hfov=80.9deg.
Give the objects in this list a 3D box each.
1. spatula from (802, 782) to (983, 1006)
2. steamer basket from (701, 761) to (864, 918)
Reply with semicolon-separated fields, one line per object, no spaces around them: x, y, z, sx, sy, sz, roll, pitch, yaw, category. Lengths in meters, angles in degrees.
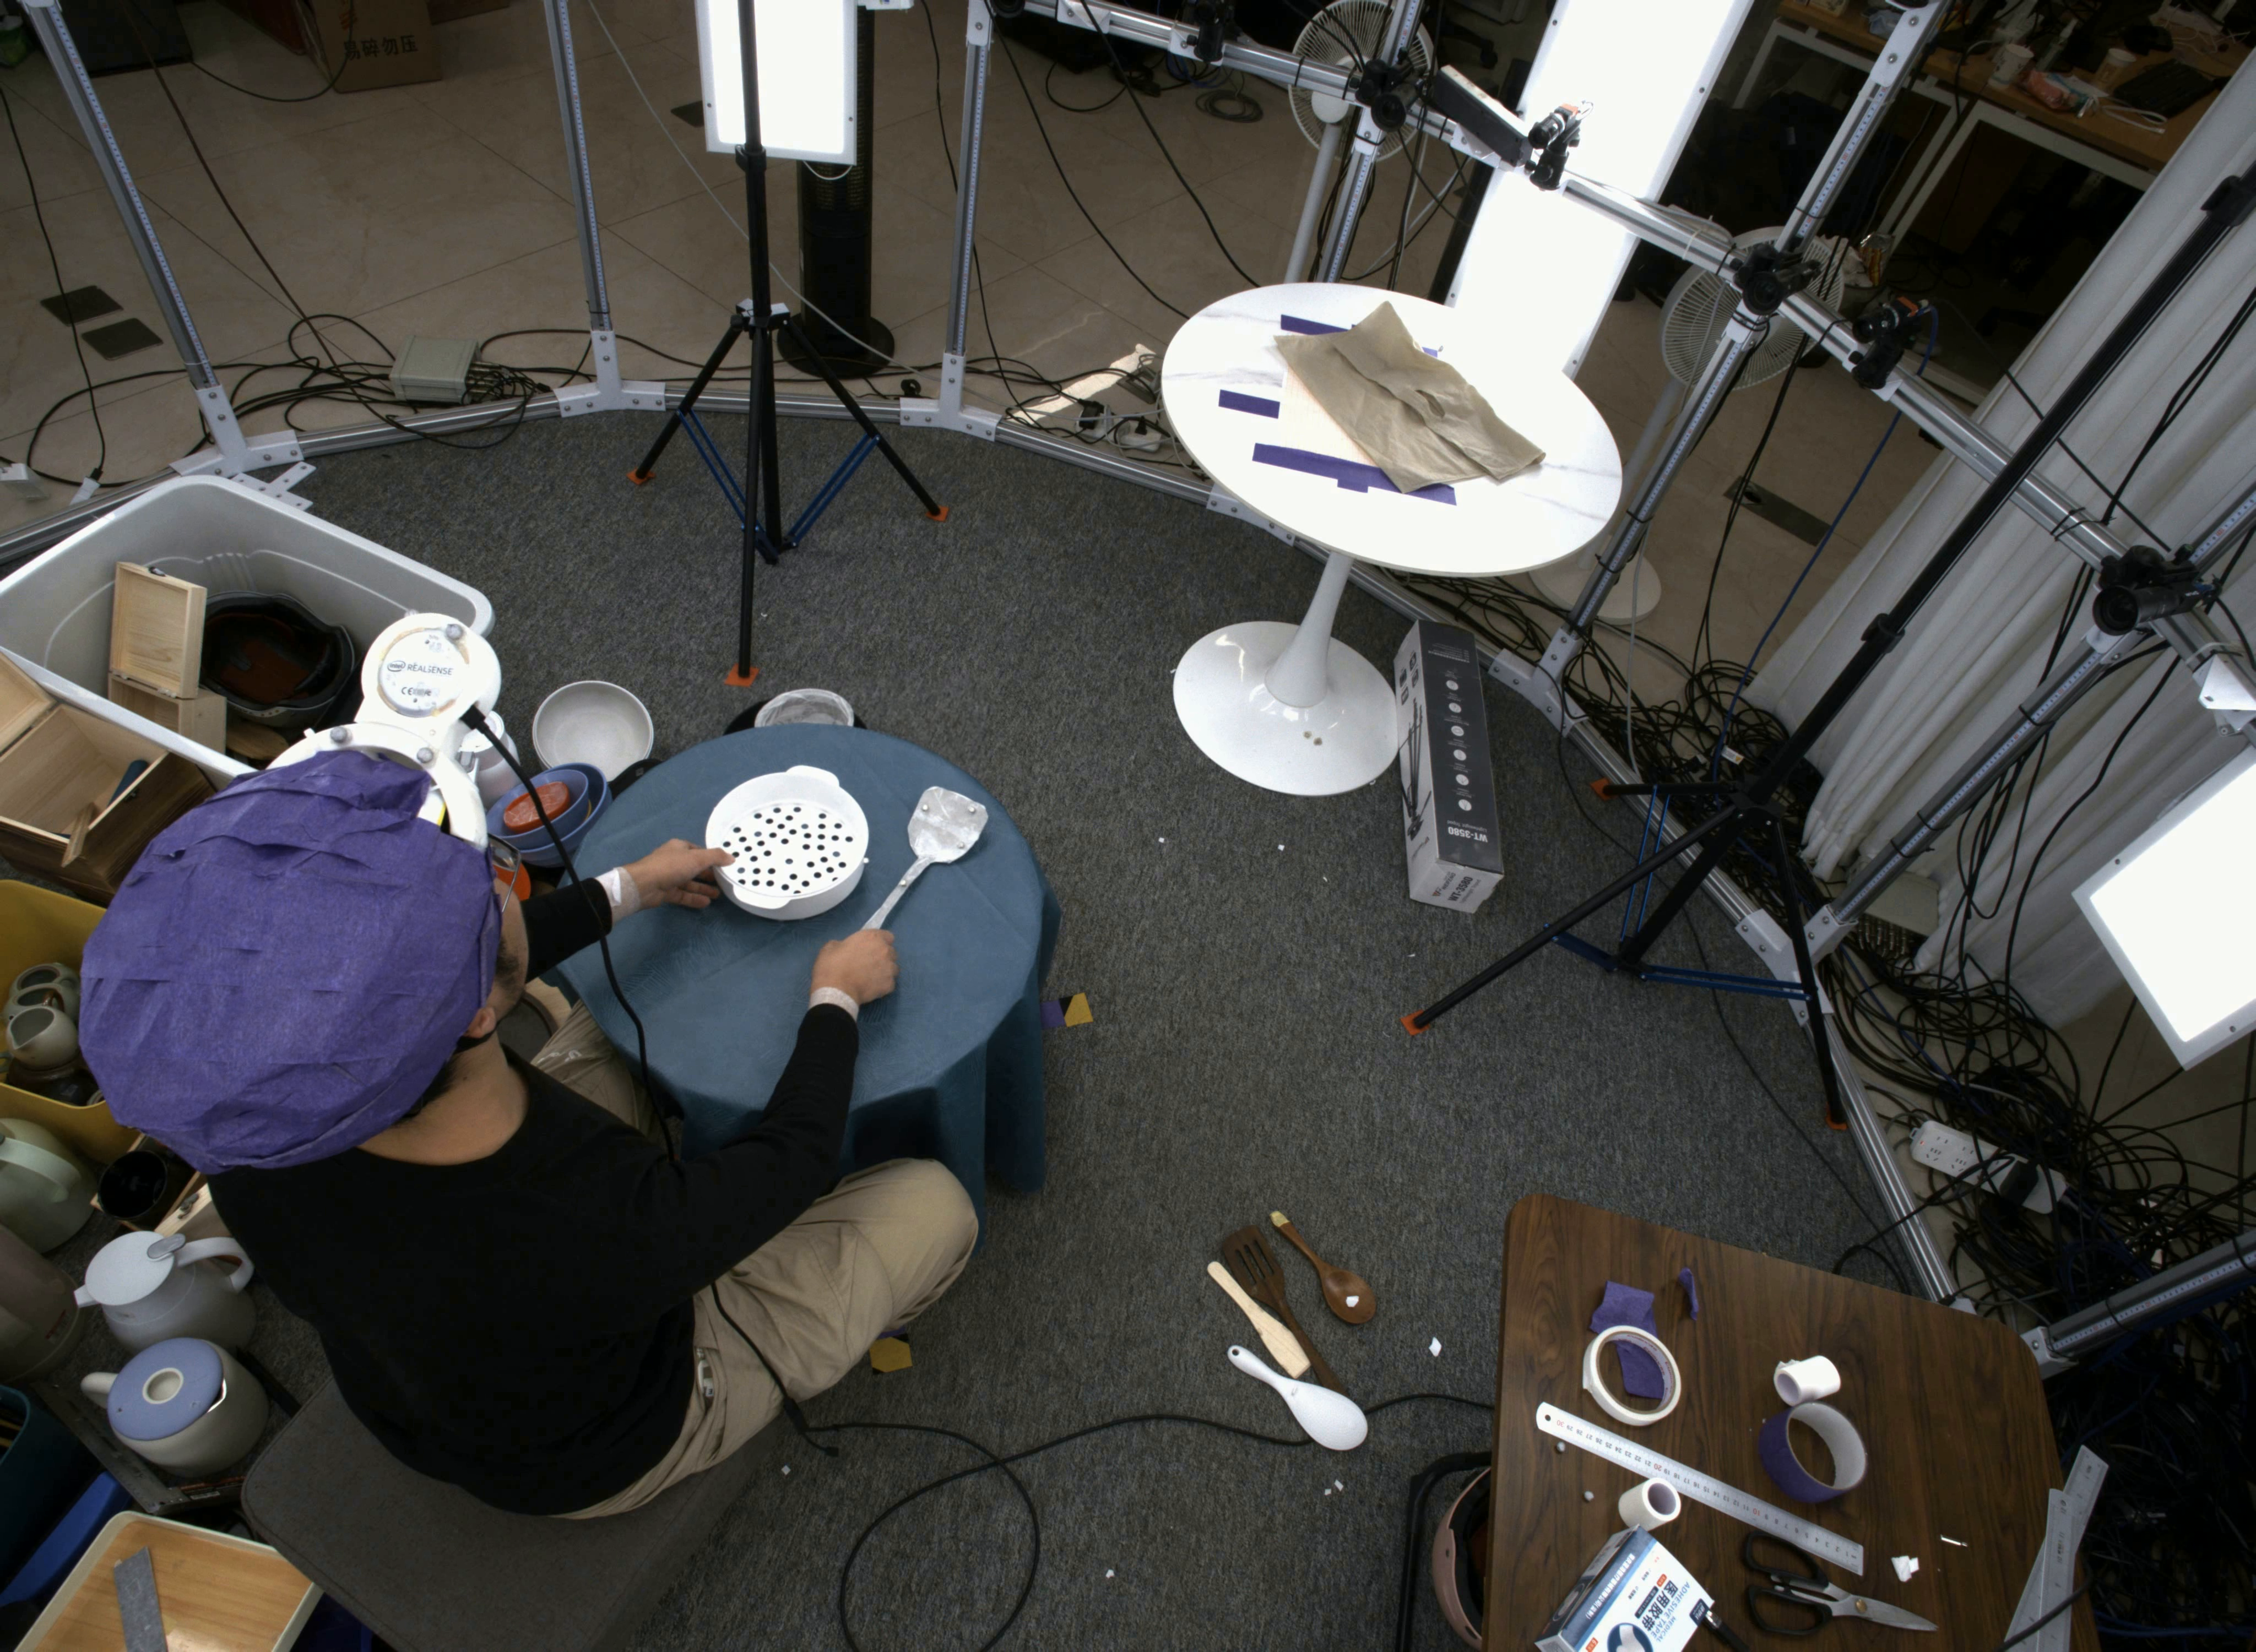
-0.307;0.085;1.659;0.097;0.045;0.362;27;51;5;spatula
-0.439;0.022;1.653;0.200;0.070;0.227;14;52;-2;steamer basket
